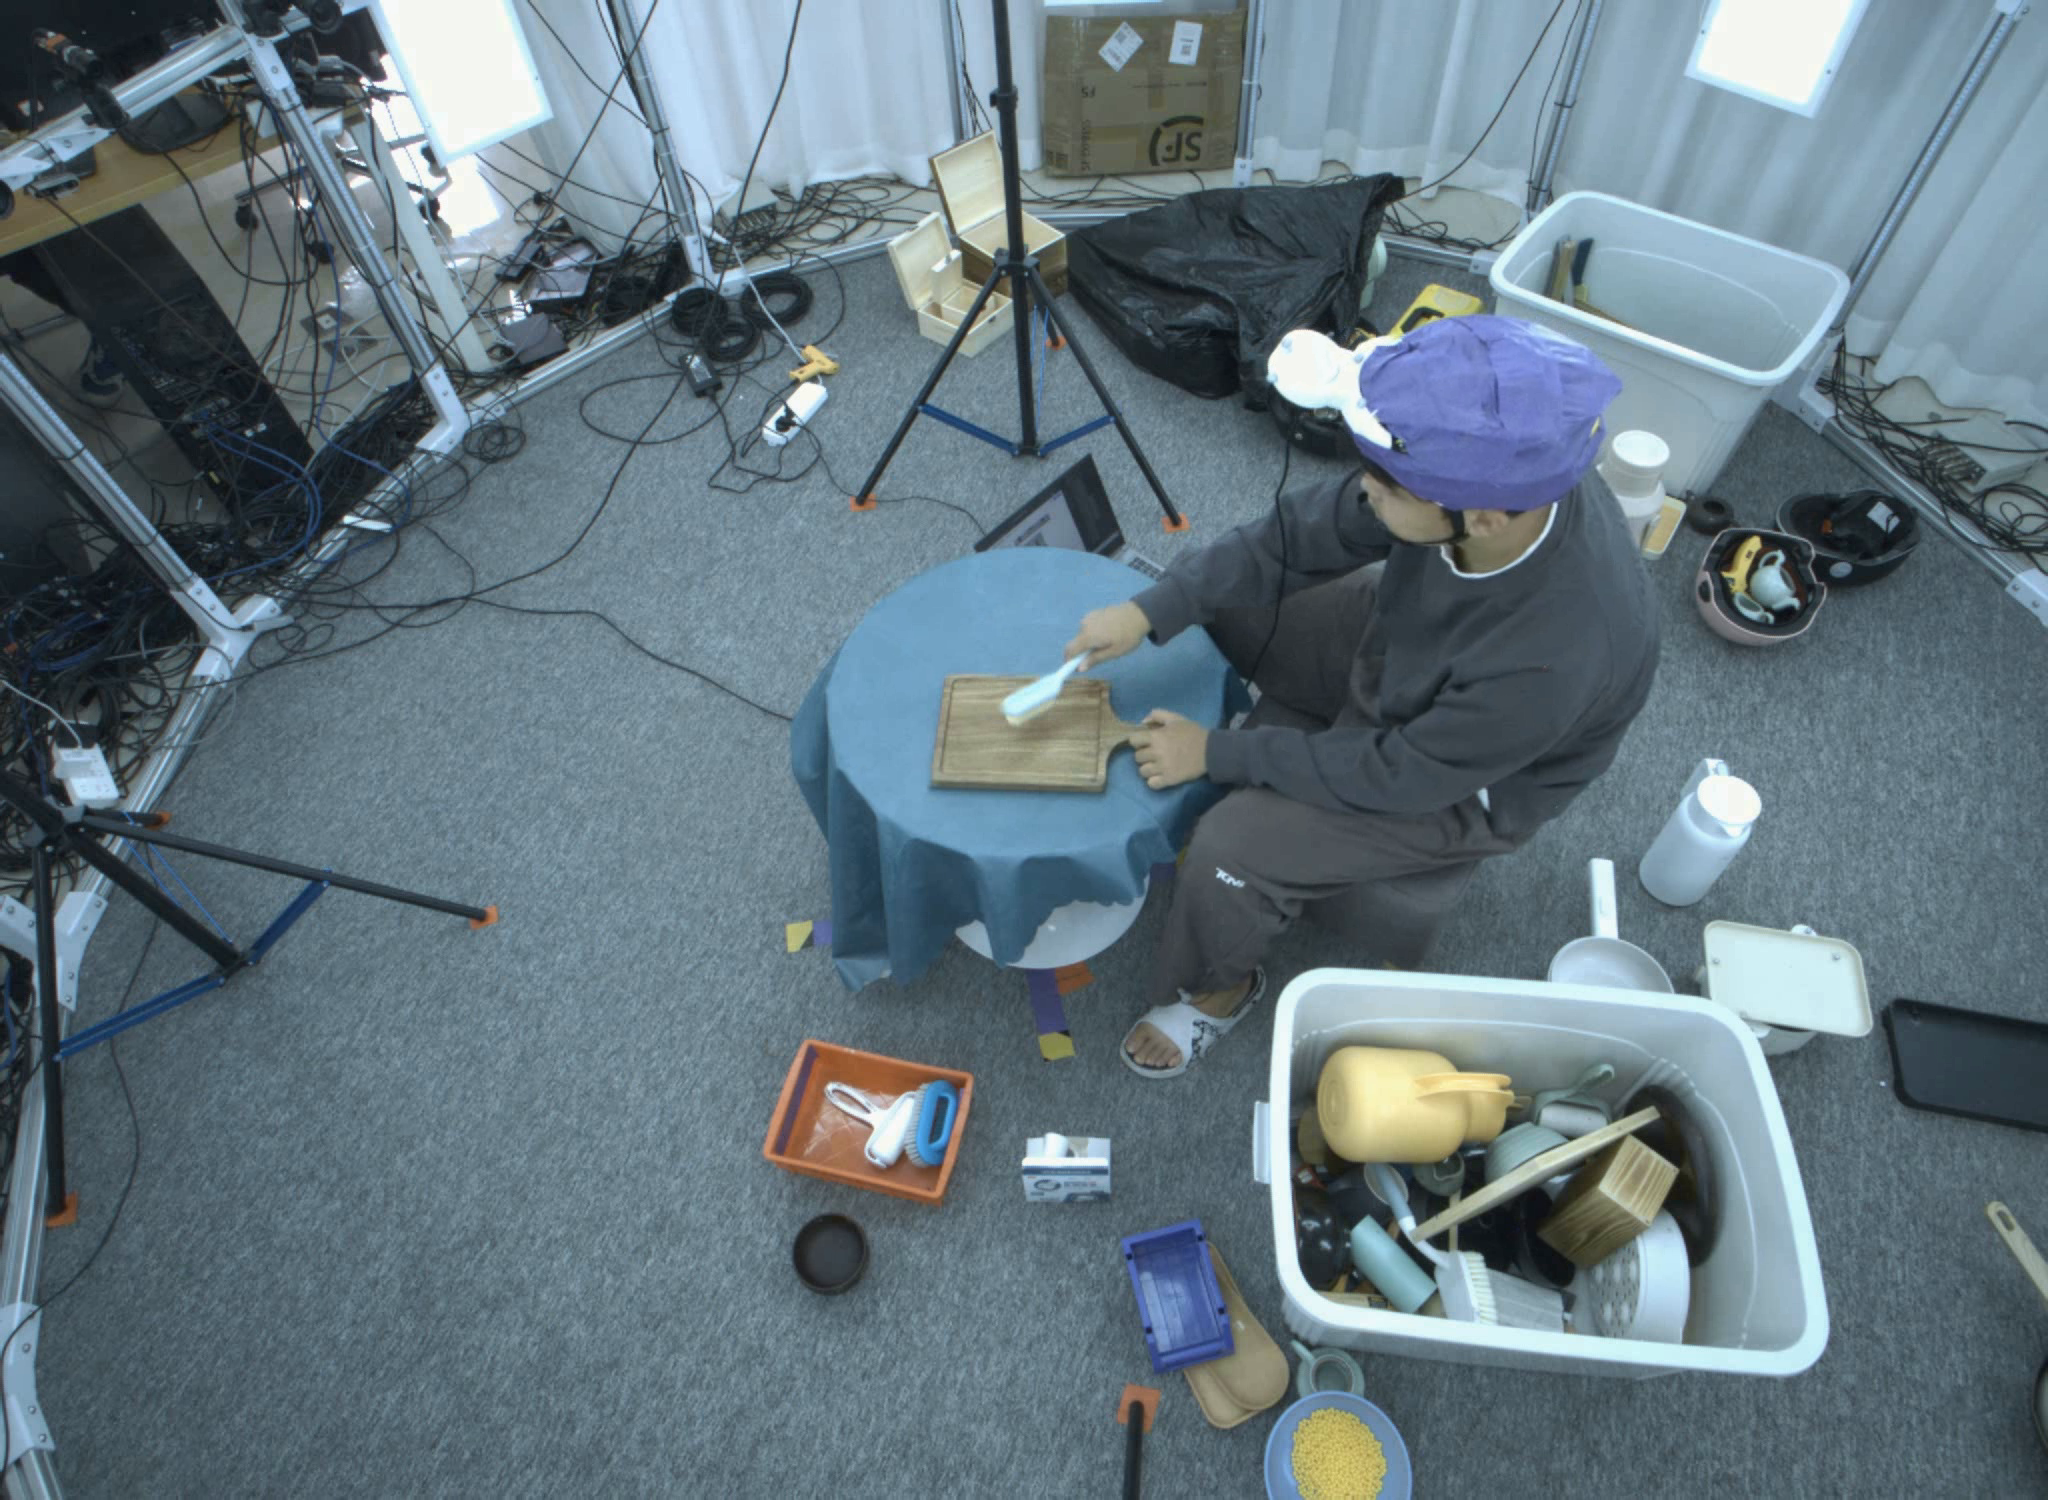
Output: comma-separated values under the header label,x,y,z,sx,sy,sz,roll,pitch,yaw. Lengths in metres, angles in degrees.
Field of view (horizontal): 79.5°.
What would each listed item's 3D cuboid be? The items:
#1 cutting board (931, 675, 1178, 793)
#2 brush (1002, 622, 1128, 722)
label,x,y,z,sx,sy,sz,roll,pitch,yaw
cutting board,0.047,-0.025,1.792,0.351,0.023,0.199,2,55,3
brush,0.061,-0.116,1.781,0.230,0.050,0.037,-39,59,-17
